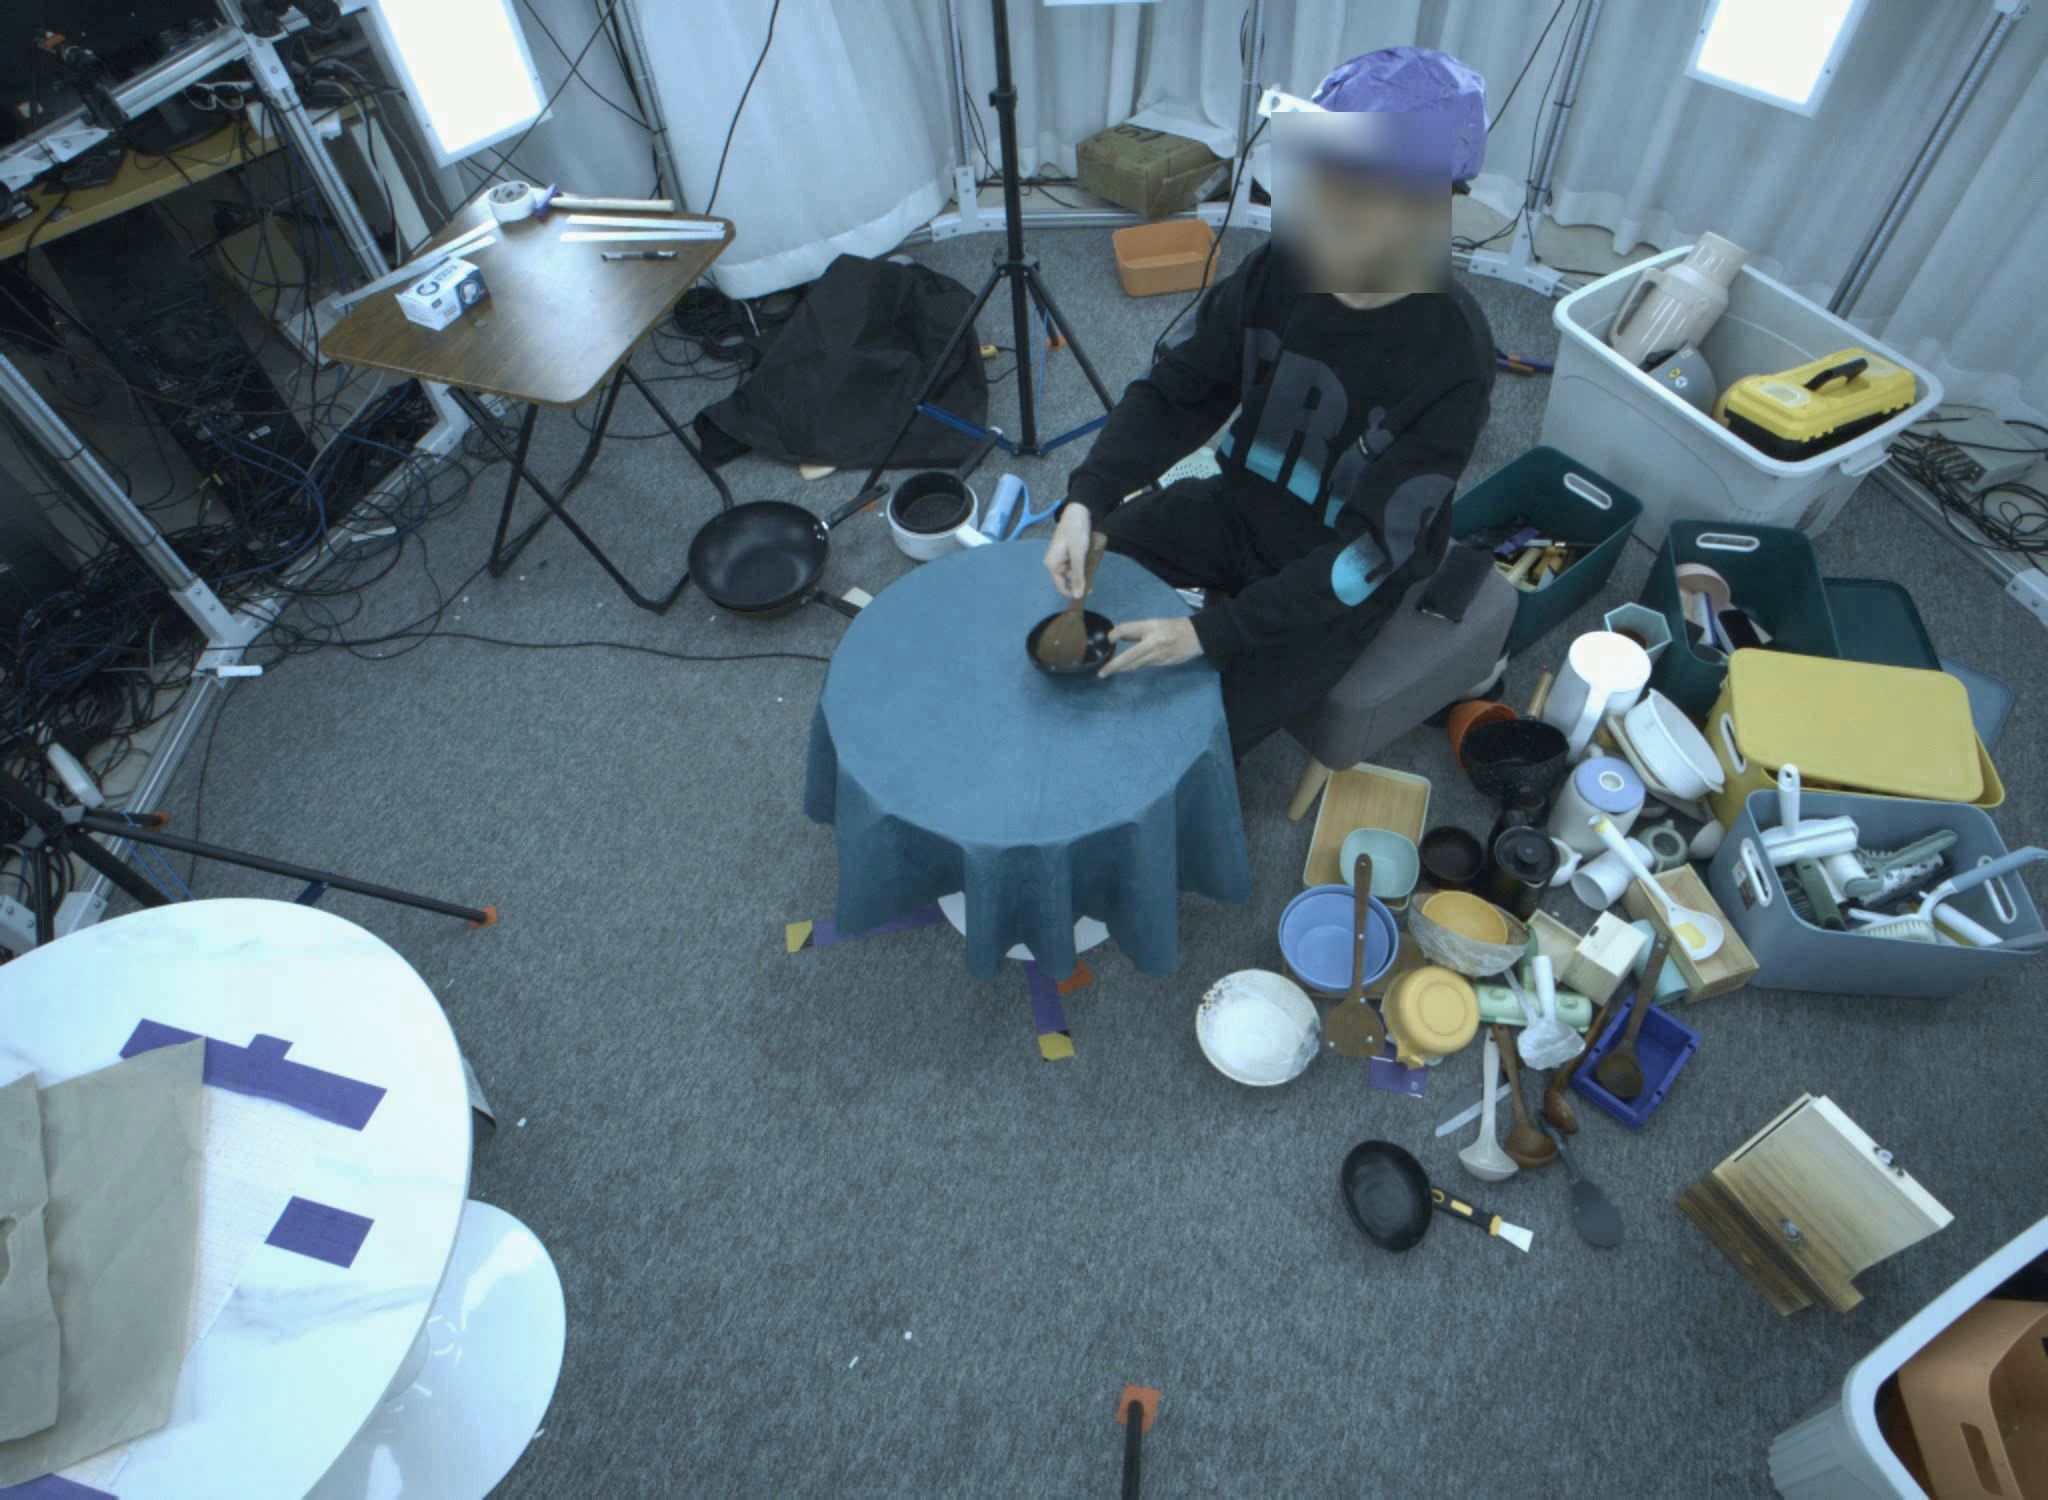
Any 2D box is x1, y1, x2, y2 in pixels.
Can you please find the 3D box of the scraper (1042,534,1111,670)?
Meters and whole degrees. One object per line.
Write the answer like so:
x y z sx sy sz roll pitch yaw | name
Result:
0.087 -0.217 1.824 0.075 0.211 0.011 21 17 14 | scraper

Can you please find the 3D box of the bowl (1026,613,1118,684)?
0.076 -0.144 1.847 0.139 0.050 0.138 -7 44 8 | bowl
